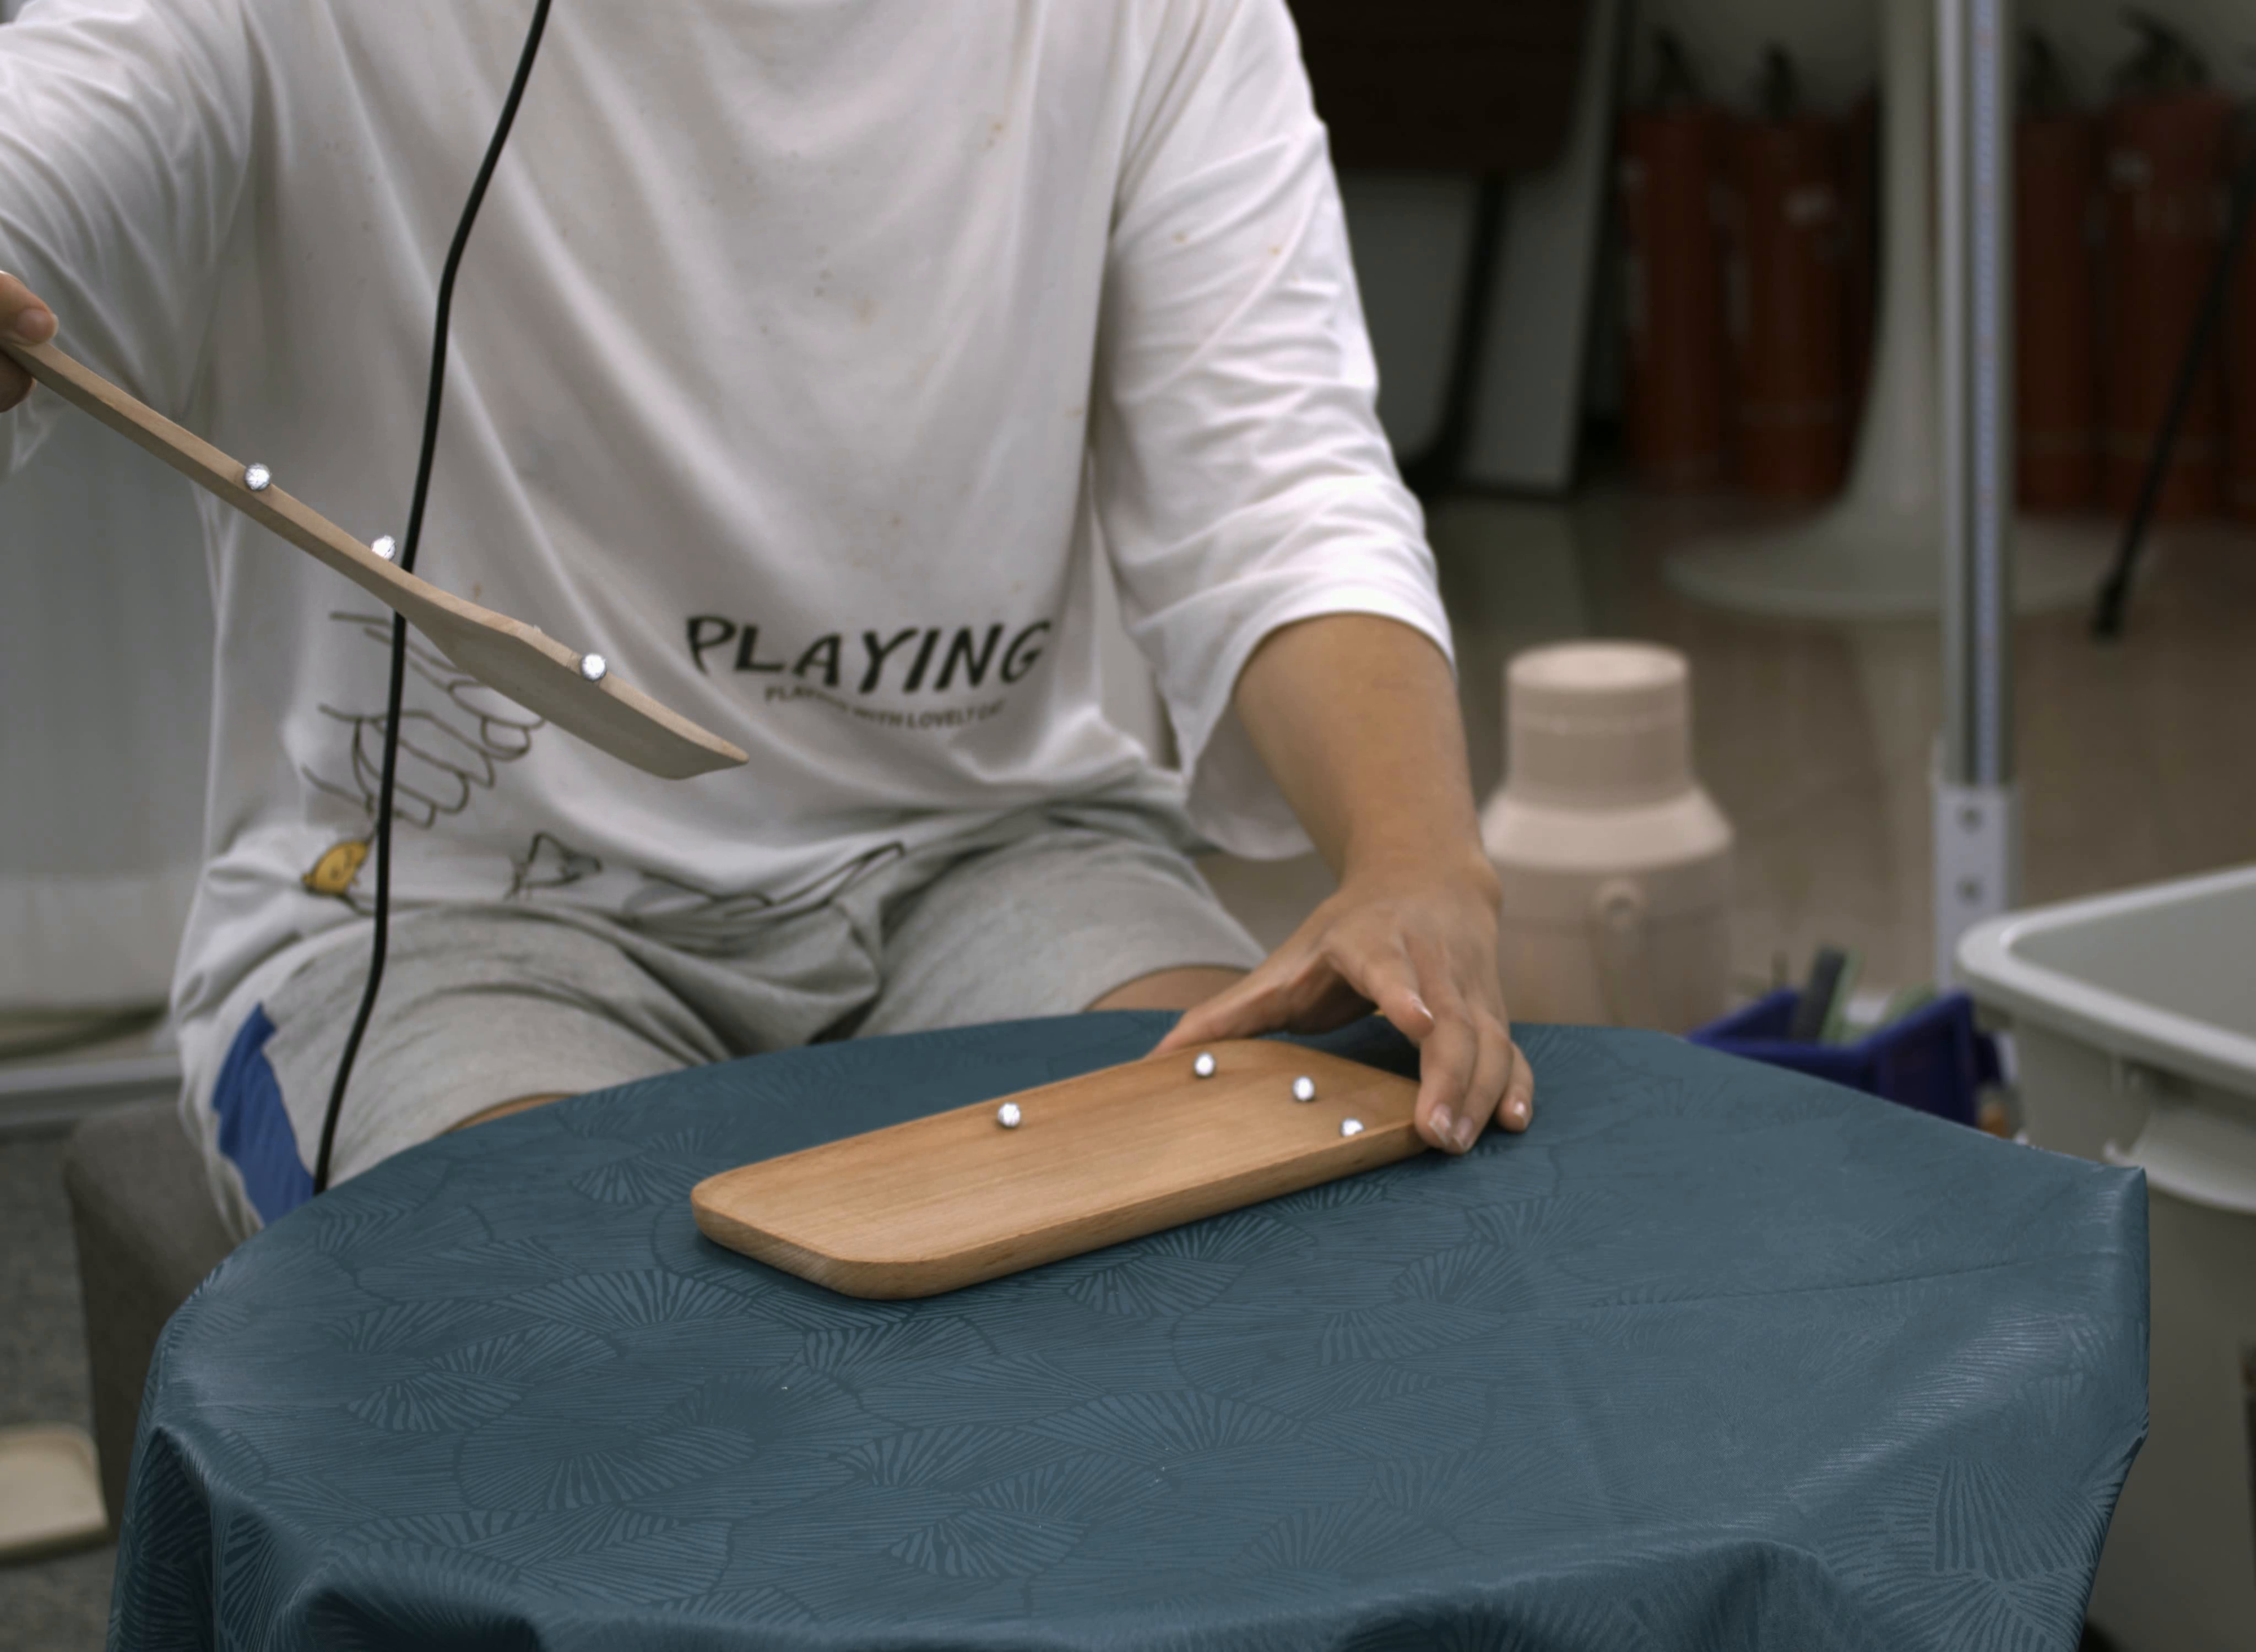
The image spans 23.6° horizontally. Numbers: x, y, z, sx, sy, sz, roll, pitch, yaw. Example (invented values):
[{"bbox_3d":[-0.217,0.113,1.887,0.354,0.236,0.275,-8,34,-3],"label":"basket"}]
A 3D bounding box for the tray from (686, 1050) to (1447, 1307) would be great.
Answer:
[{"bbox_3d":[-0.018,0.115,1.780,0.245,0.023,0.132,-14,14,-33],"label":"tray"}]

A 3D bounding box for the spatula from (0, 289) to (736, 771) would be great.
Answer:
[{"bbox_3d":[-0.246,-0.094,1.628,0.289,0.011,0.073,33,-17,-17],"label":"spatula"}]
